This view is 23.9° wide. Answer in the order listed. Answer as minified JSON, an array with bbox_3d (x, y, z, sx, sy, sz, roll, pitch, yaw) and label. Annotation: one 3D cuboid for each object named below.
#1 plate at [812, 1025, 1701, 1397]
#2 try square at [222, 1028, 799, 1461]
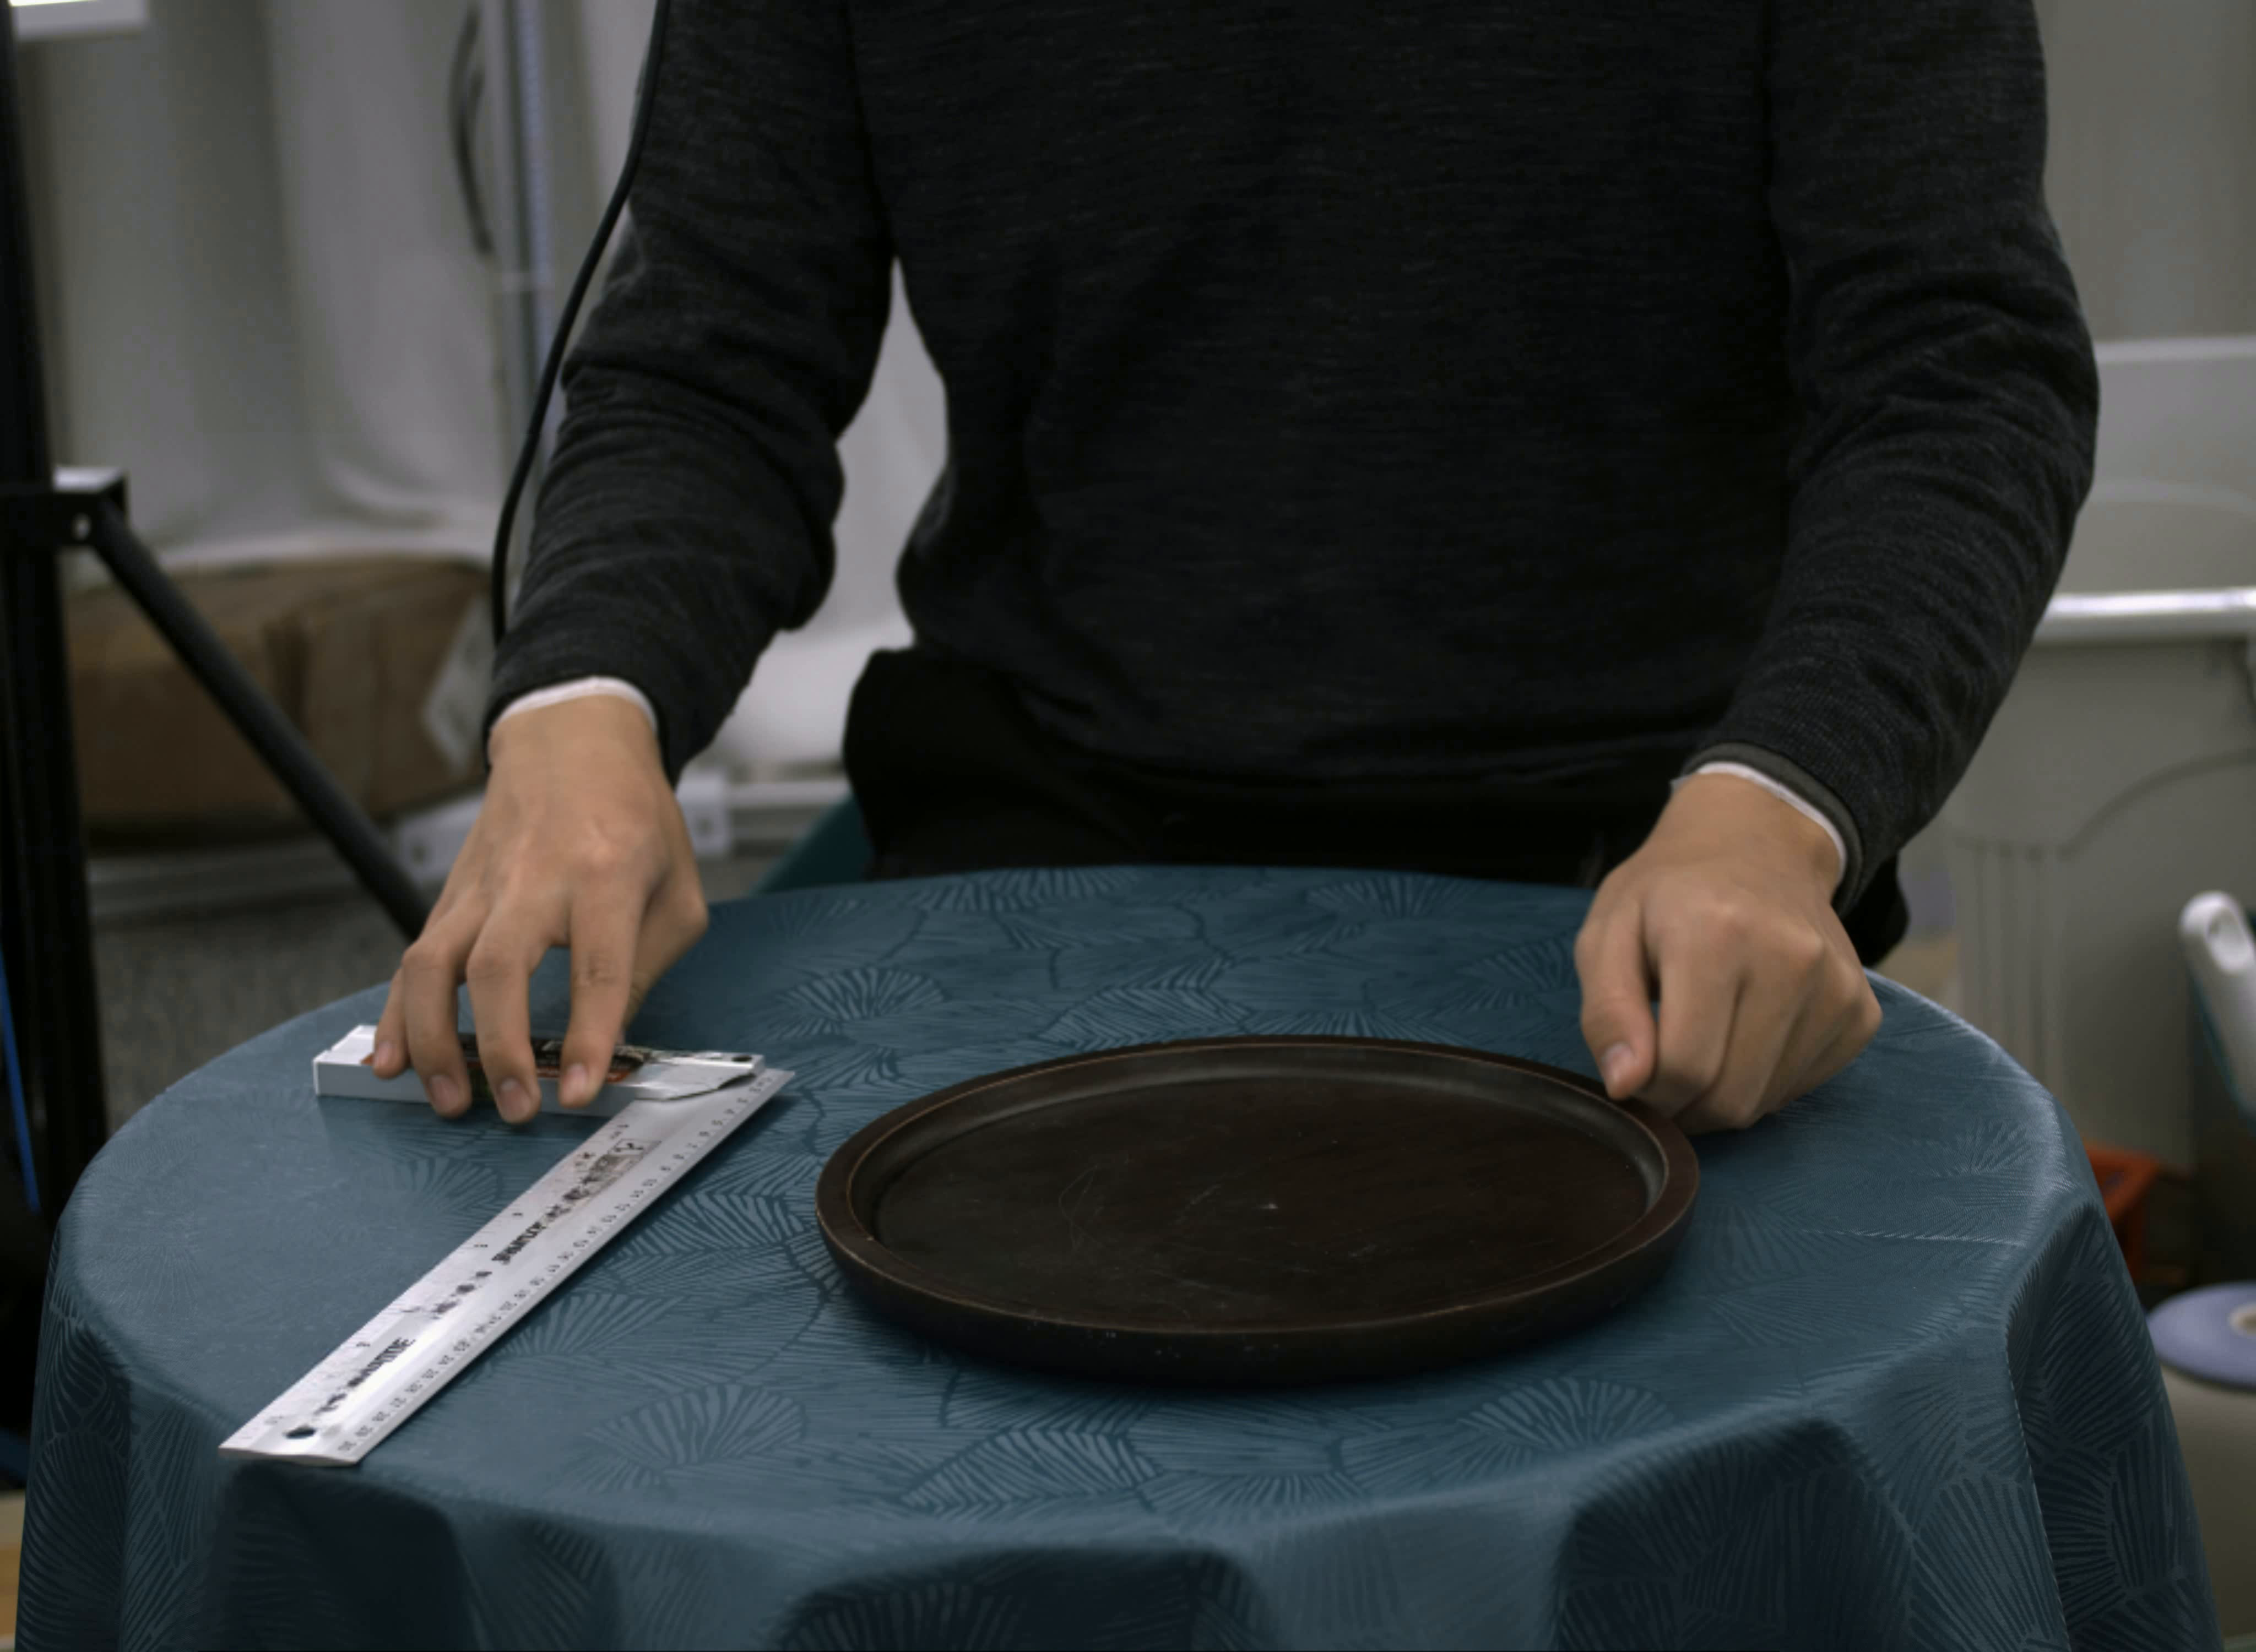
[{"bbox_3d":[0.036,0.108,1.507,0.253,0.029,0.256,-3,17,0],"label":"plate"},{"bbox_3d":[-0.221,0.117,1.549,0.154,0.016,0.309,2,17,19],"label":"try square"}]
